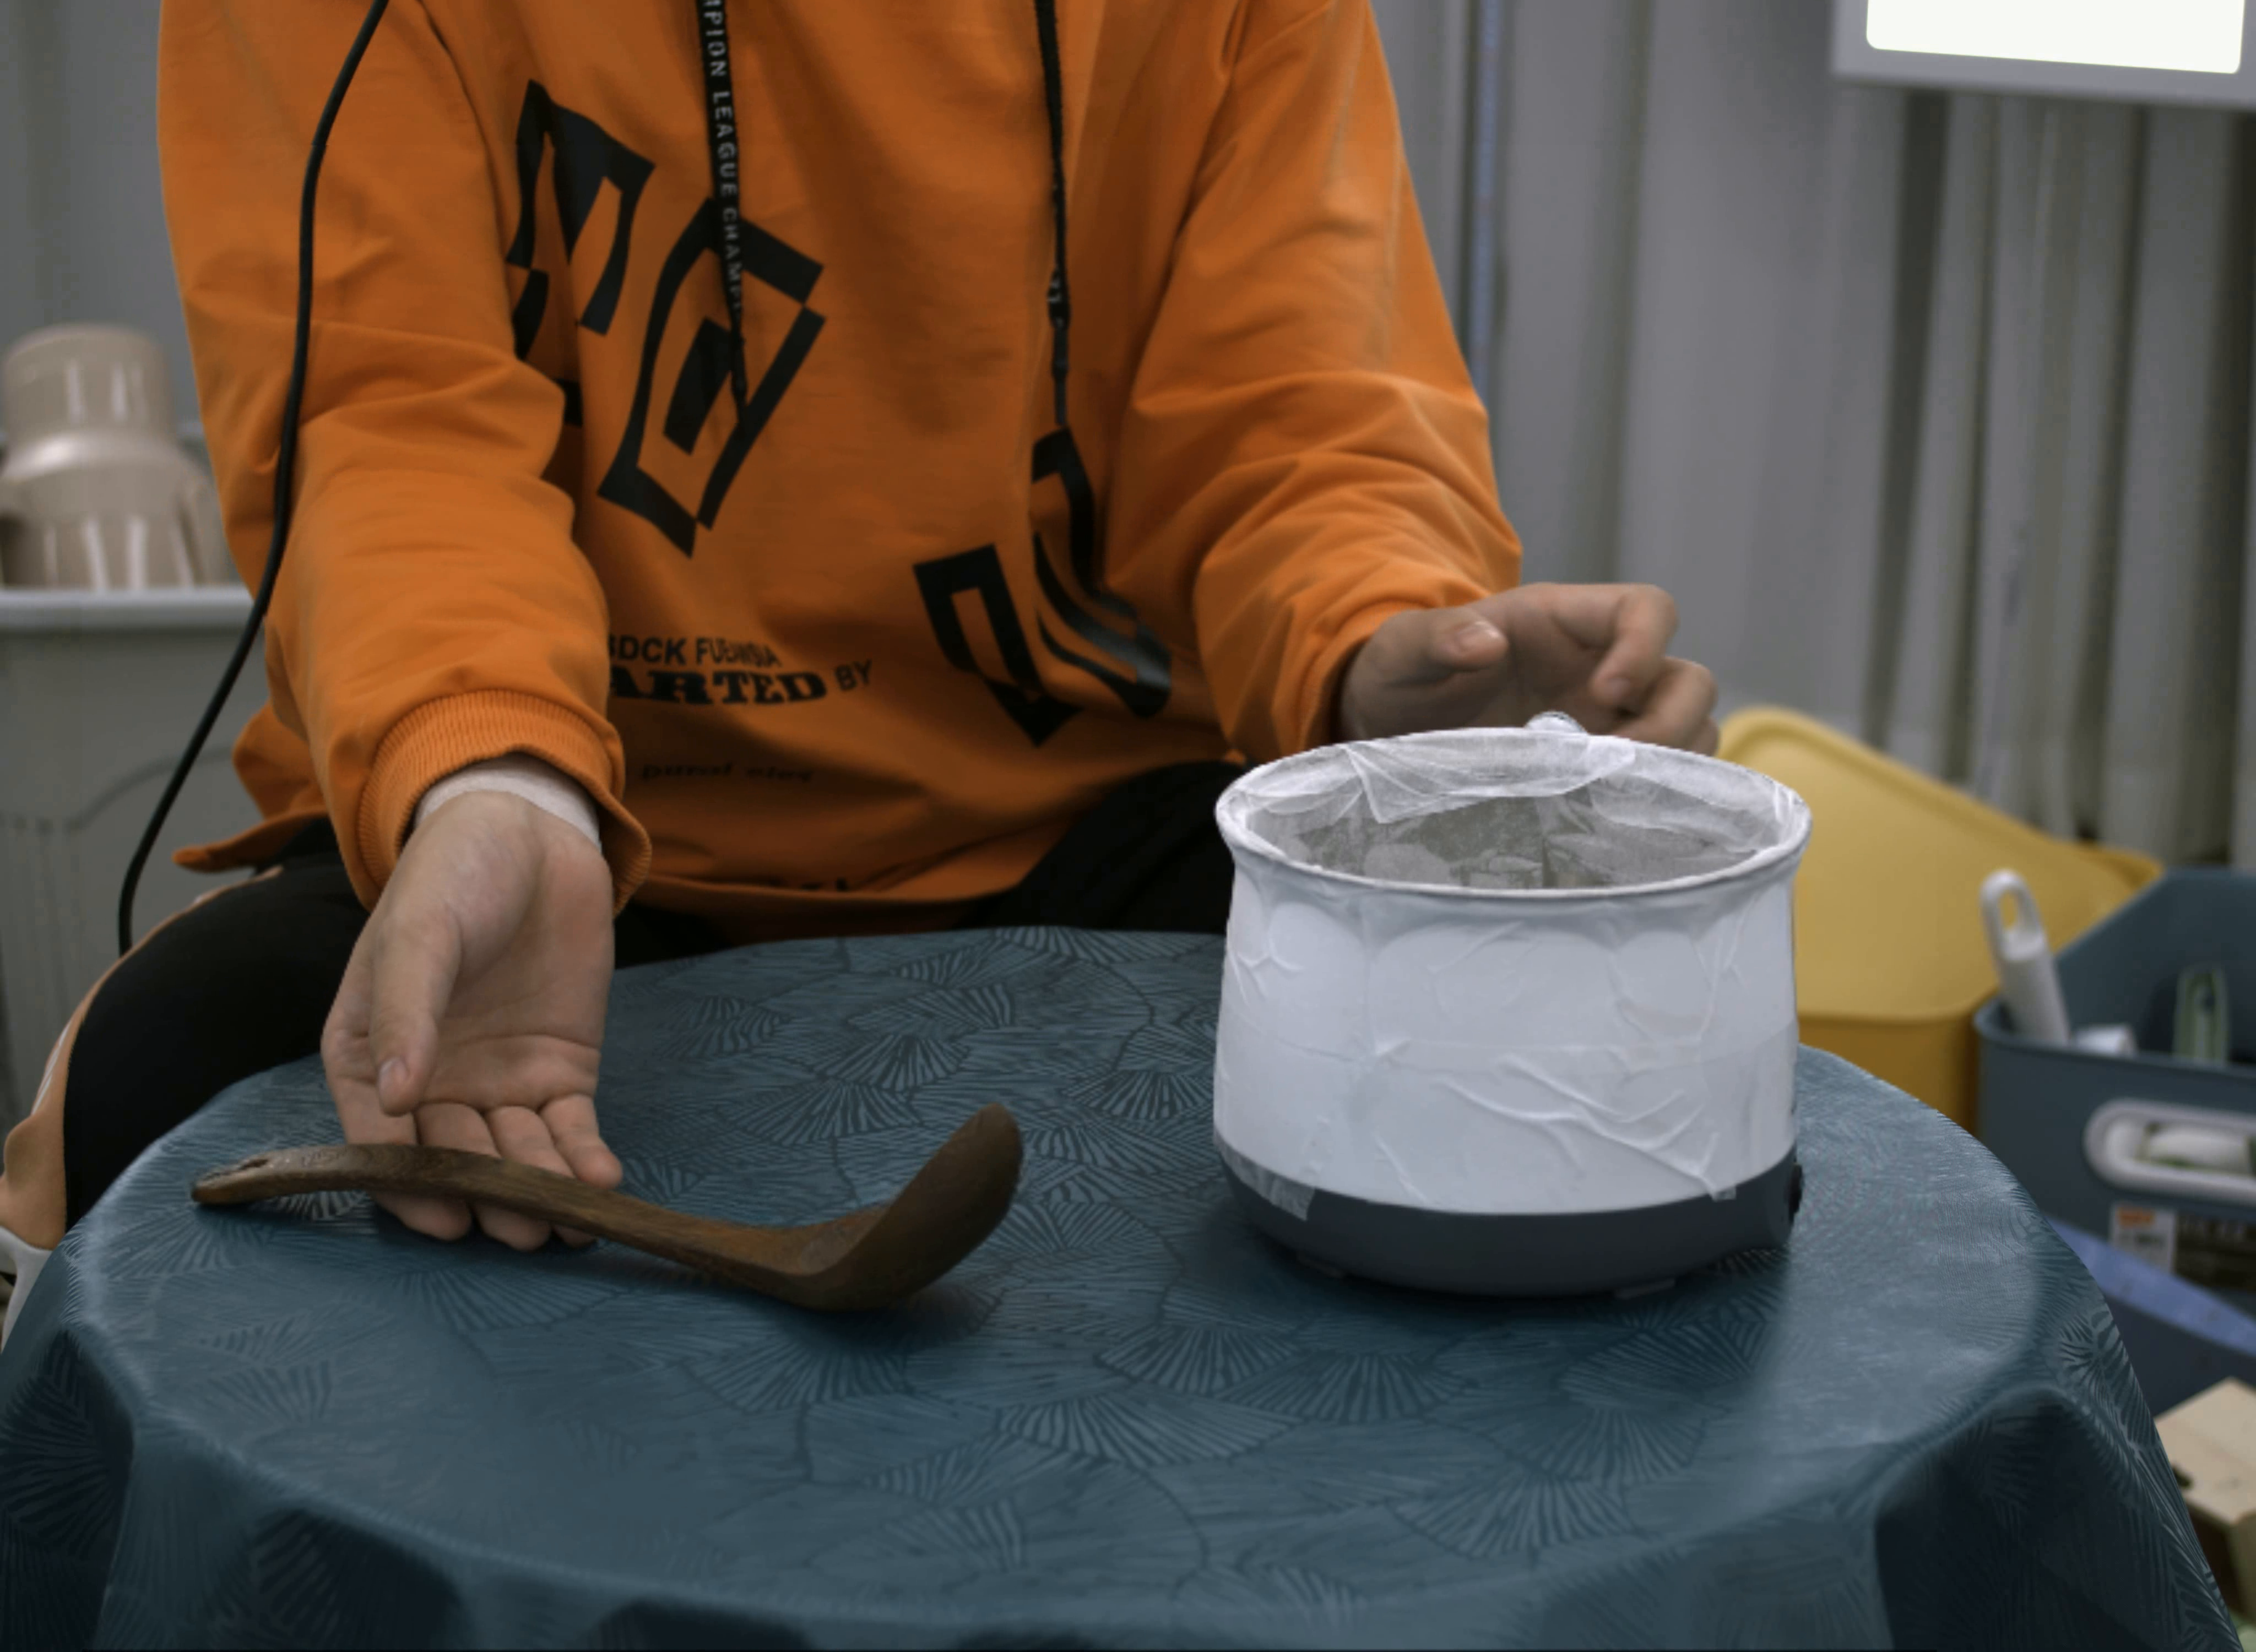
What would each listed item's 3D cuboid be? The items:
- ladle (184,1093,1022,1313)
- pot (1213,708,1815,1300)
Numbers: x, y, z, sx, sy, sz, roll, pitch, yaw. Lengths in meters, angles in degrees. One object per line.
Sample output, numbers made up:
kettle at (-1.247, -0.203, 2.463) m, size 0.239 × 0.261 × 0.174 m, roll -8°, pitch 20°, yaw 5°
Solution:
ladle at (-0.159, 0.095, 1.548) m, size 0.271 × 0.072 × 0.076 m, roll 8°, pitch 17°, yaw 23°
pot at (0.118, 0.048, 1.600) m, size 0.177 × 0.138 × 0.233 m, roll 3°, pitch 16°, yaw 9°
